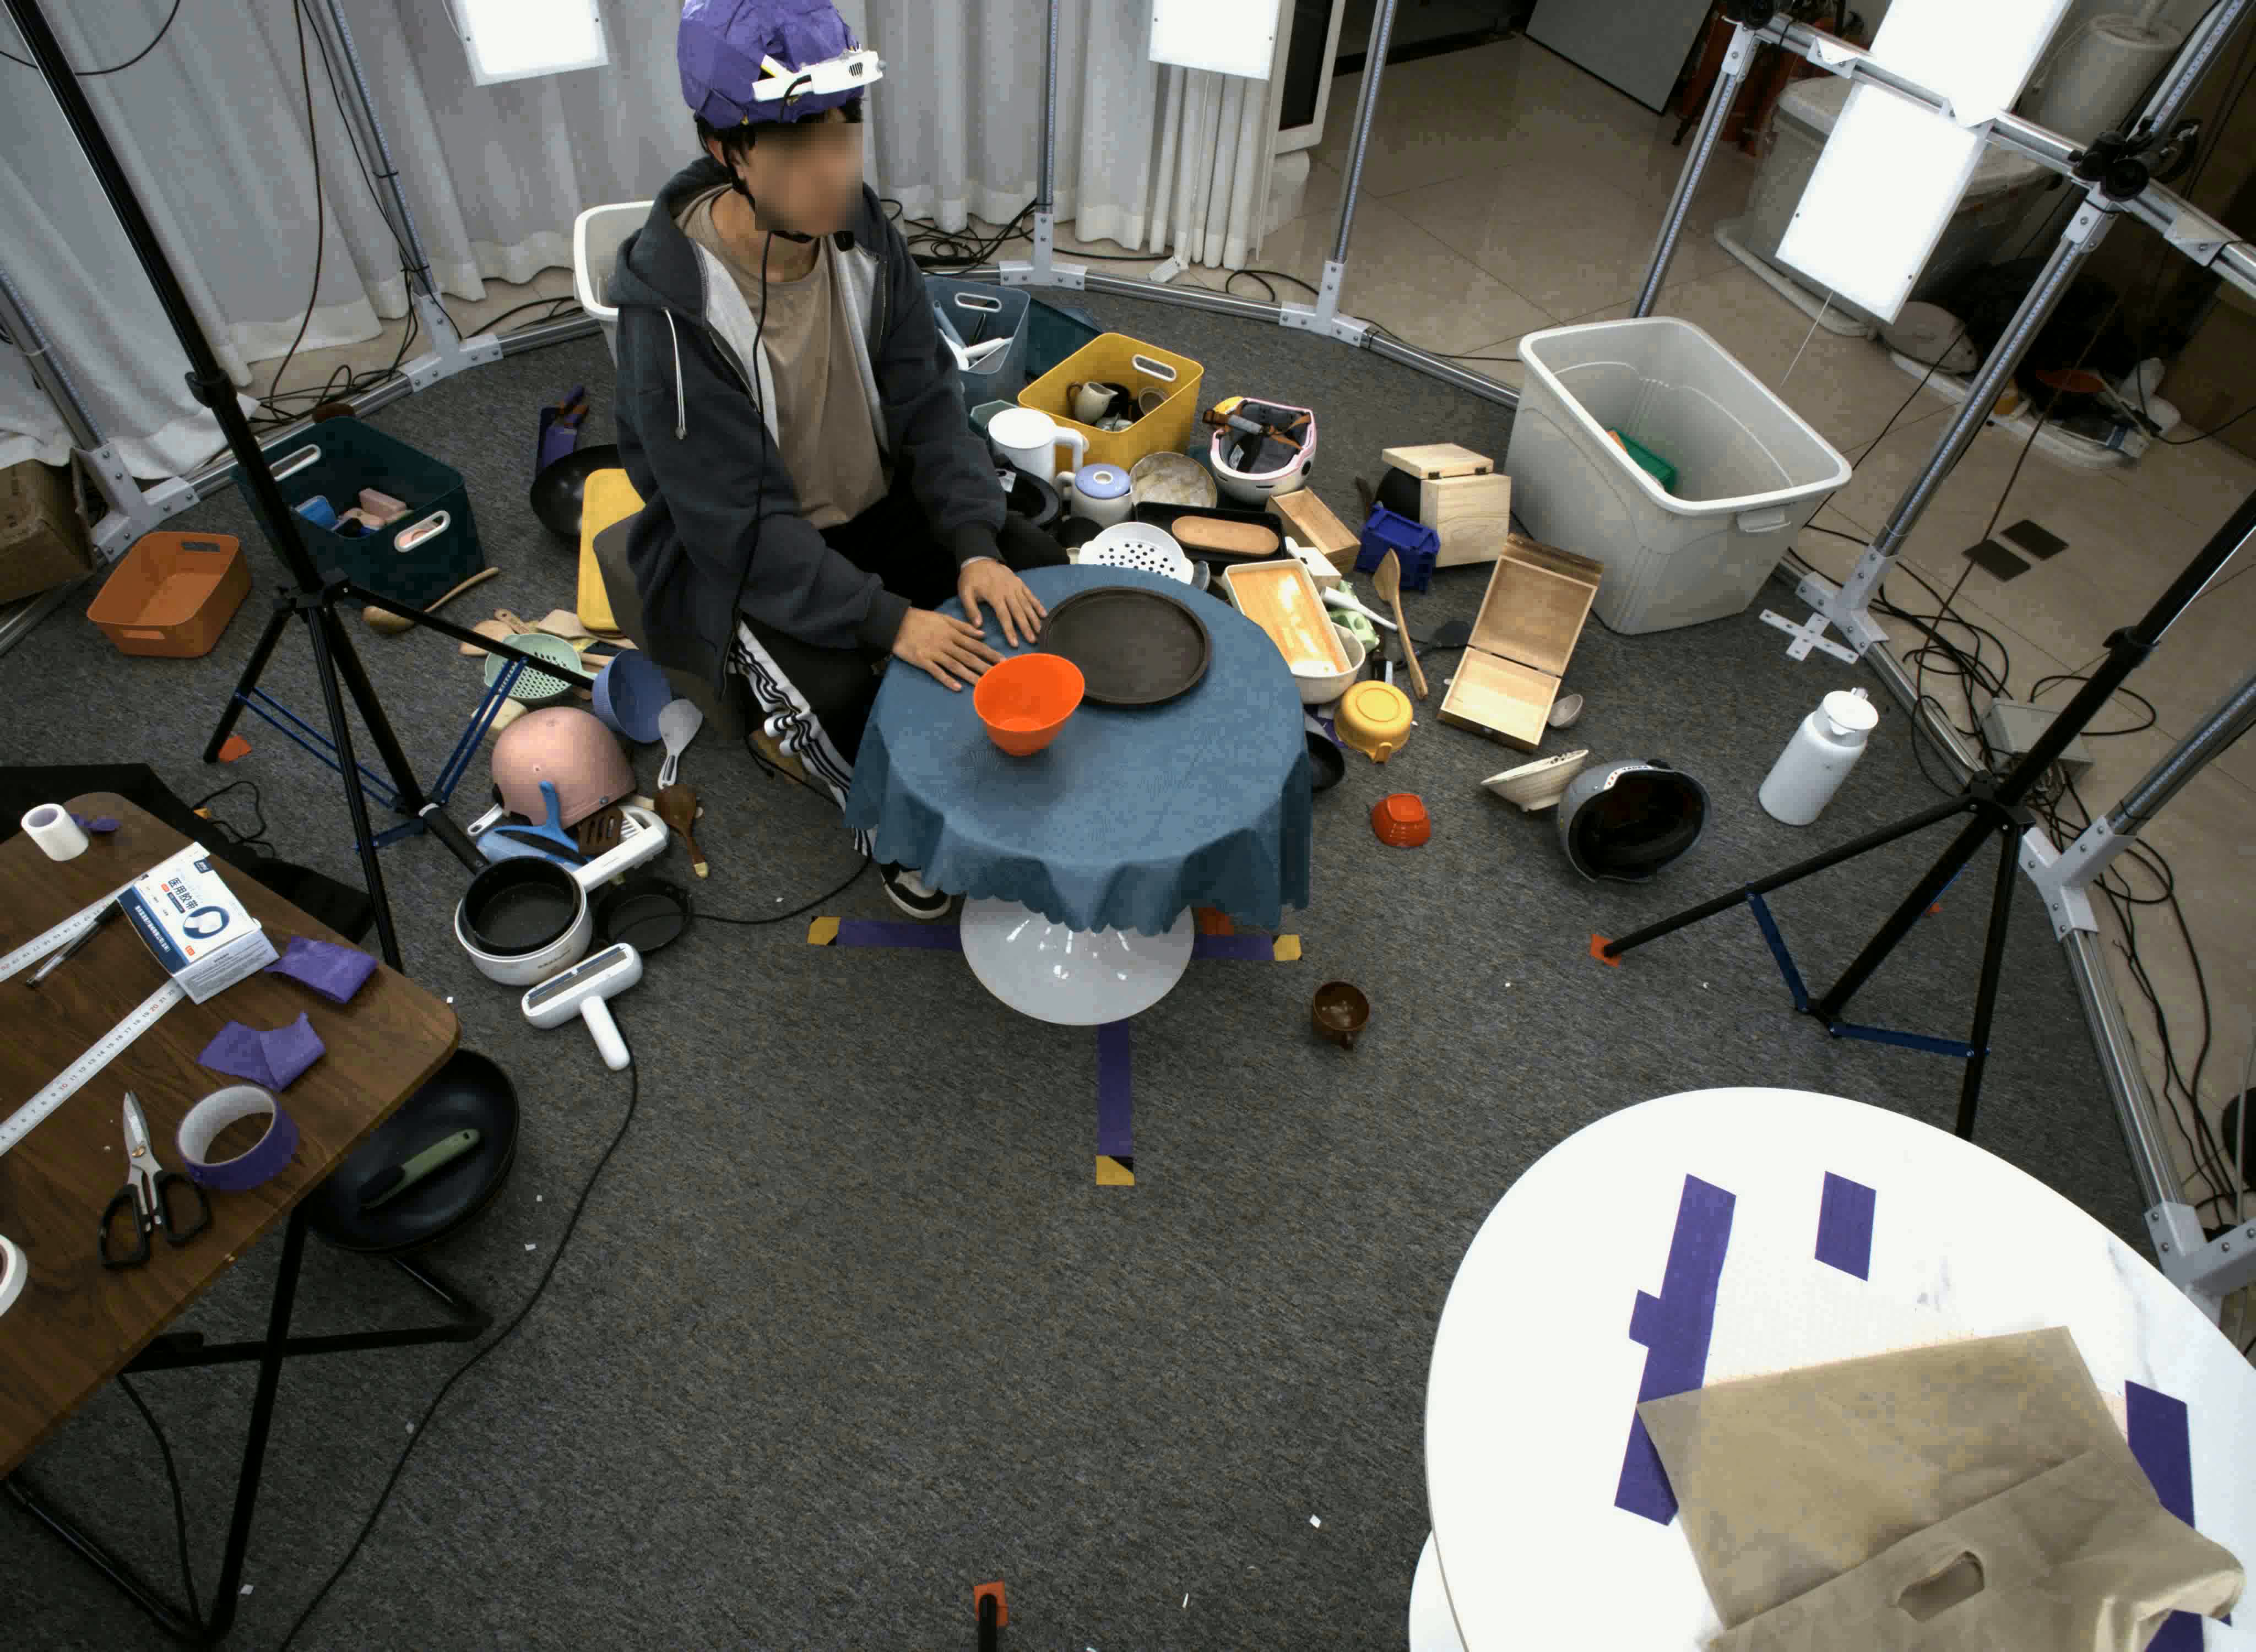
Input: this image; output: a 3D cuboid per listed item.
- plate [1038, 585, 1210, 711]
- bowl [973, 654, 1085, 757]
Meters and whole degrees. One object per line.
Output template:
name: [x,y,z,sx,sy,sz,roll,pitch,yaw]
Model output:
plate: [-0.005,-0.262,1.879,0.254,0.028,0.261,1,50,-2]
bowl: [-0.133,-0.151,1.723,0.148,0.102,0.152,2,50,-2]
